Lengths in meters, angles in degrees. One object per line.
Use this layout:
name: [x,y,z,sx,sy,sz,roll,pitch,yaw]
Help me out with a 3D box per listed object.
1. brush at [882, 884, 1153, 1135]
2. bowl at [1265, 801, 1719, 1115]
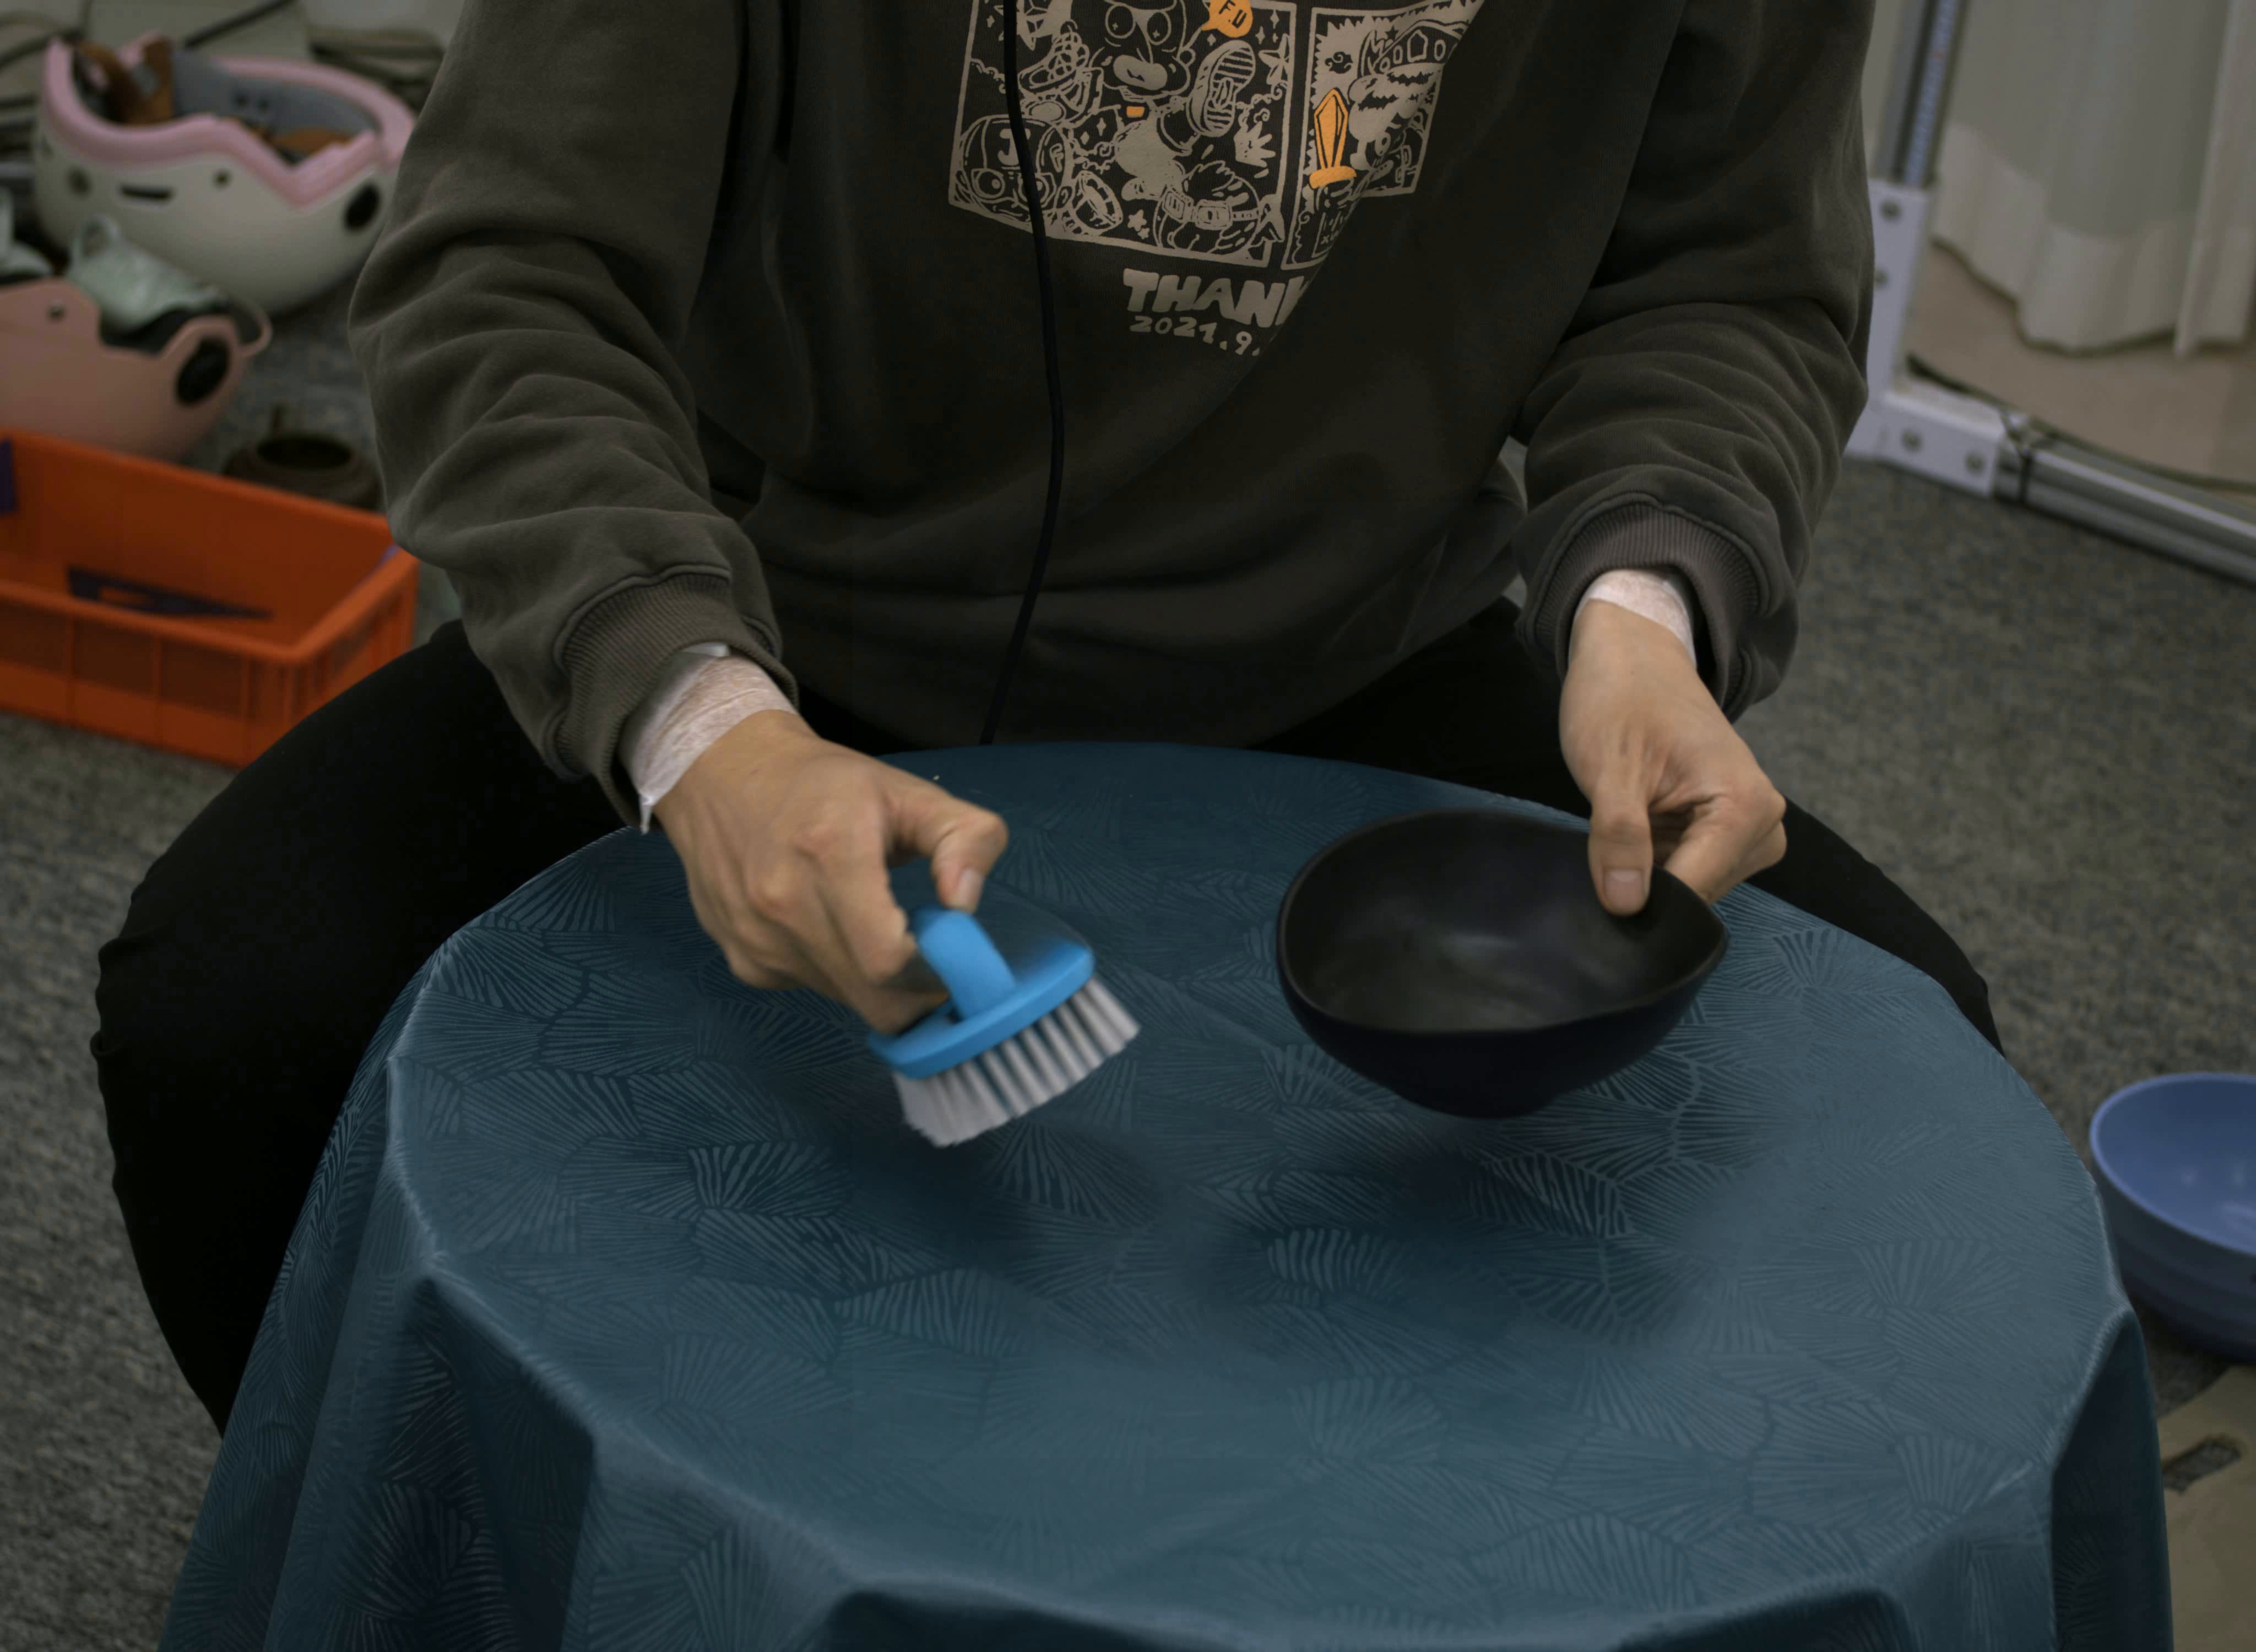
brush: [-0.046,0.051,1.764,0.084,0.064,0.142,-35,6,-5]
bowl: [0.121,0.055,1.813,0.169,0.066,0.138,-18,37,-40]
